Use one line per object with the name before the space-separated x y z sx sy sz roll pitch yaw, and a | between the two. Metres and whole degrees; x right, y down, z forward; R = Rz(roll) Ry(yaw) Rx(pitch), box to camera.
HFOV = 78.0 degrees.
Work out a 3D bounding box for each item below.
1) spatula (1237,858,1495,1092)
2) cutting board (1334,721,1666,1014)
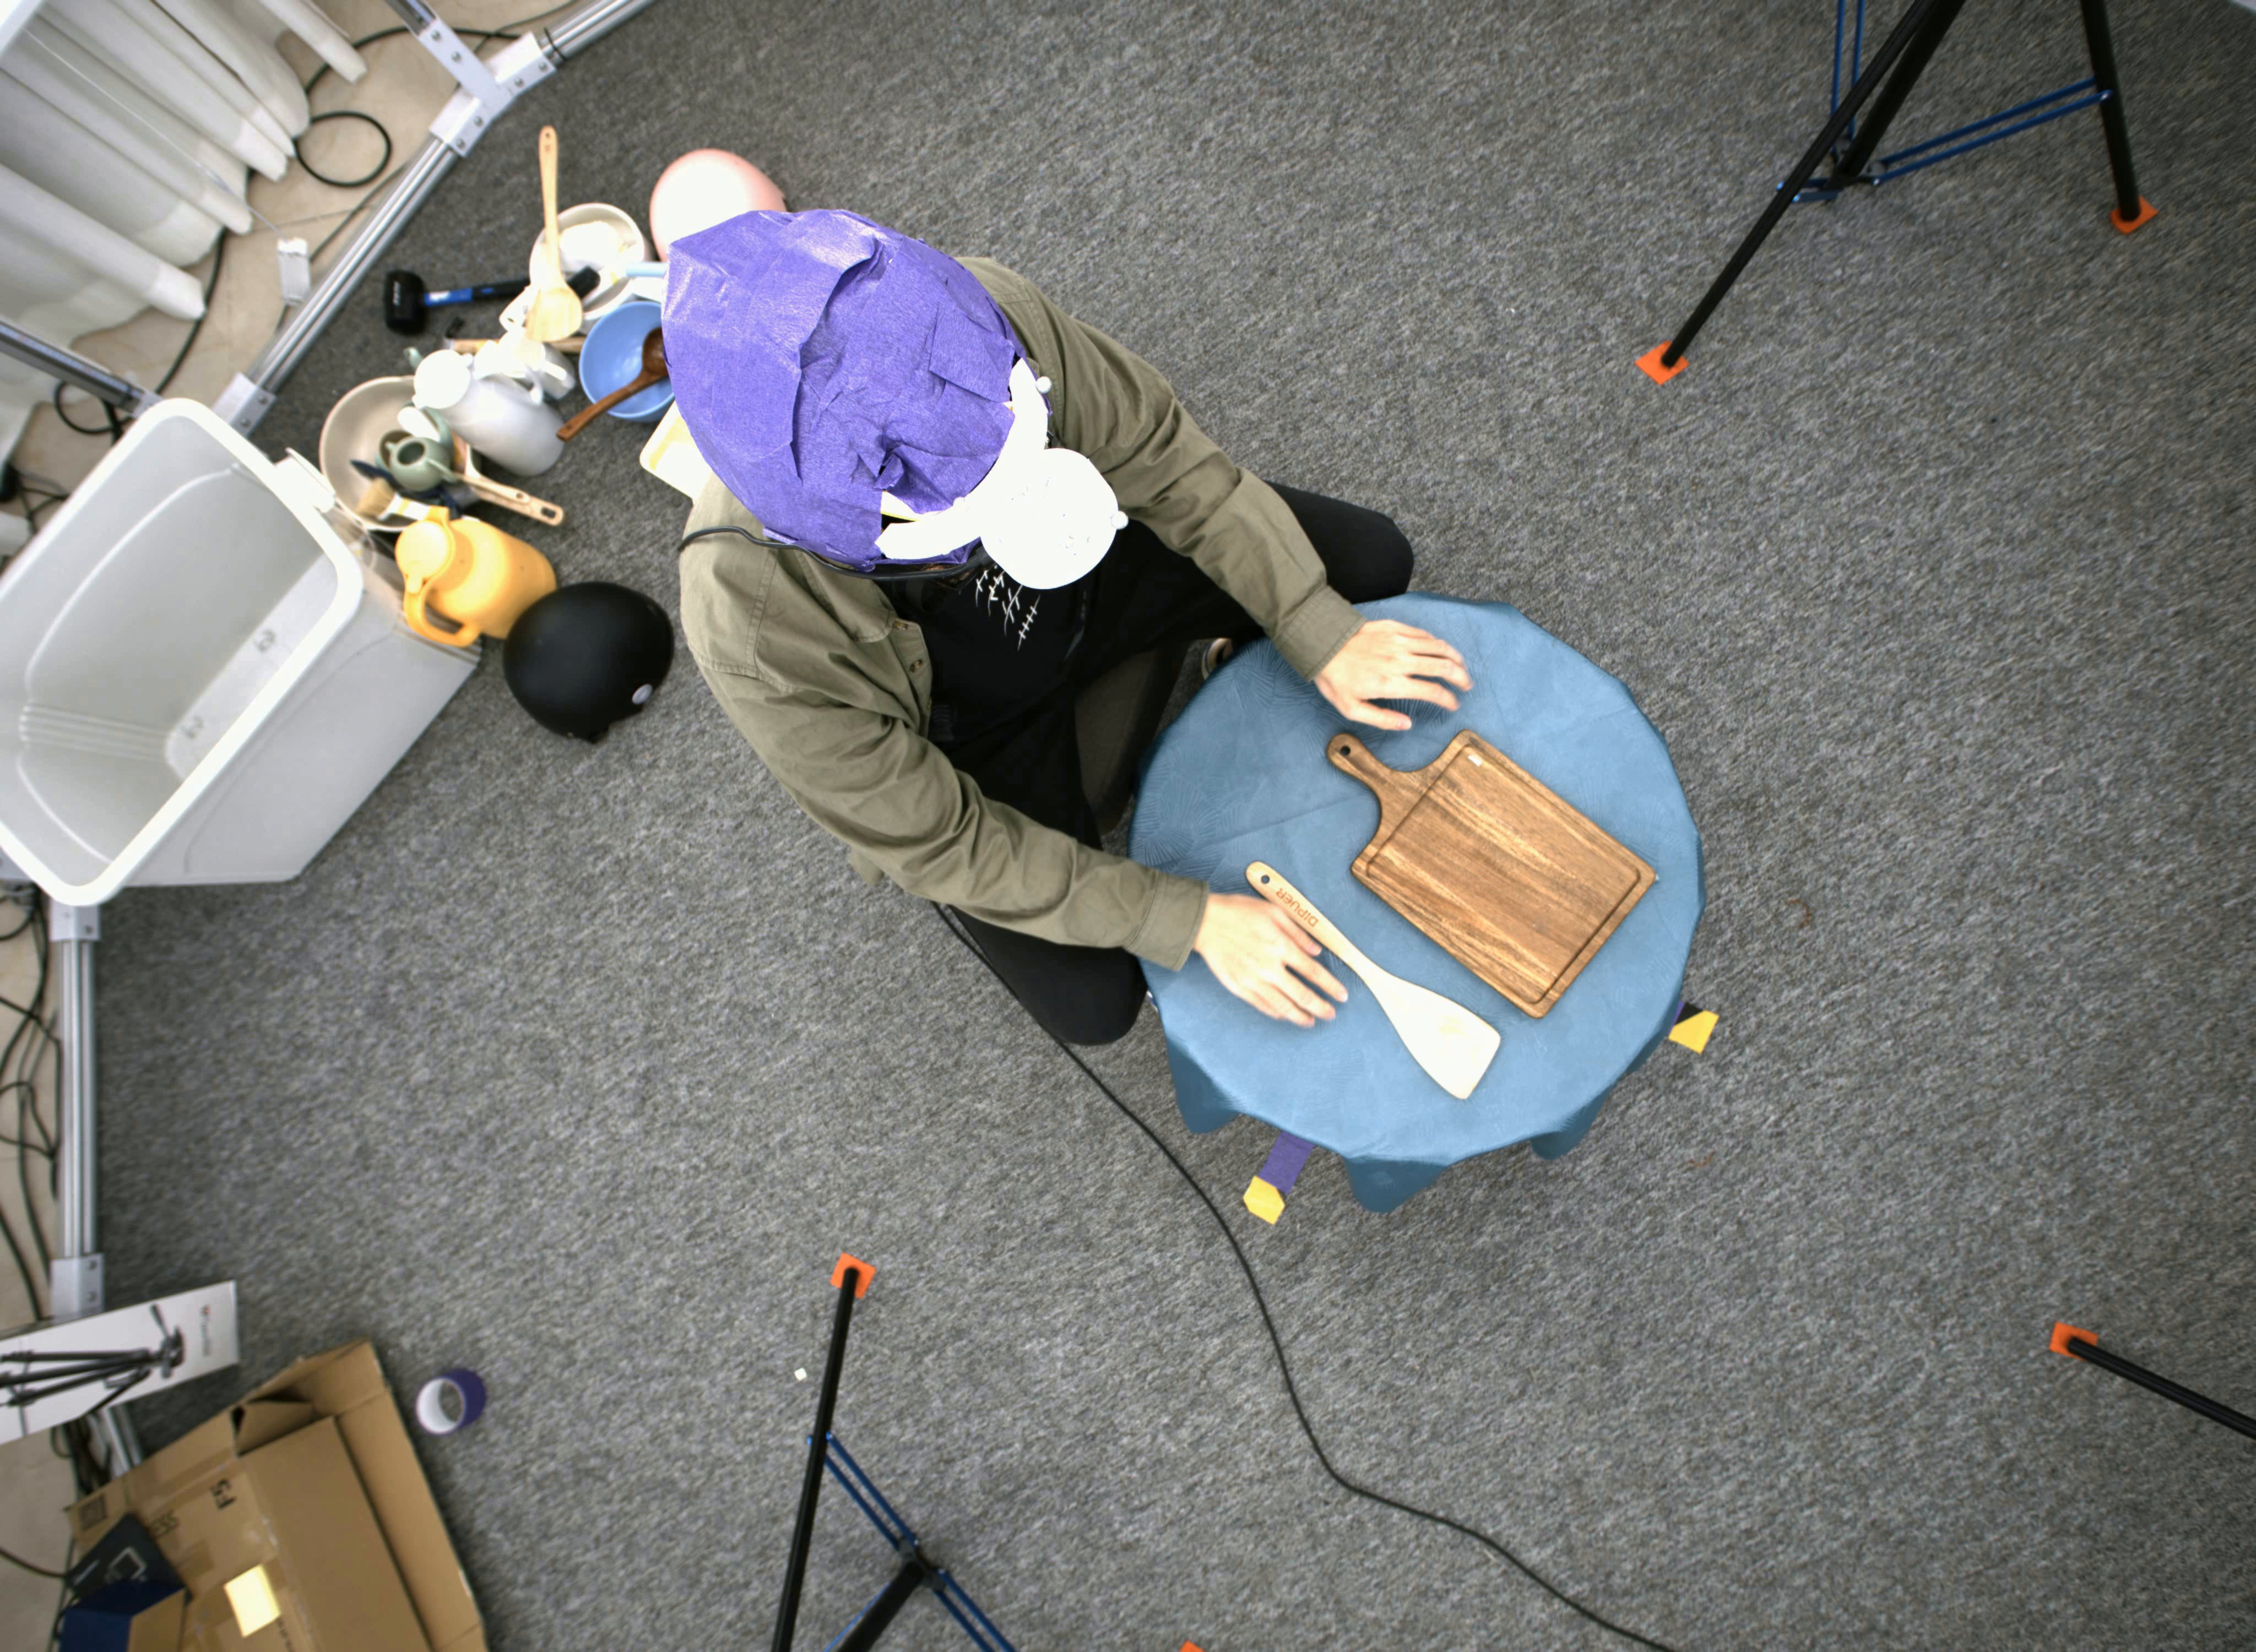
spatula | 0.242 0.141 1.442 0.326 0.016 0.080 40 94 9
cutting board | 0.357 0.008 1.425 0.351 0.023 0.202 40 94 9
